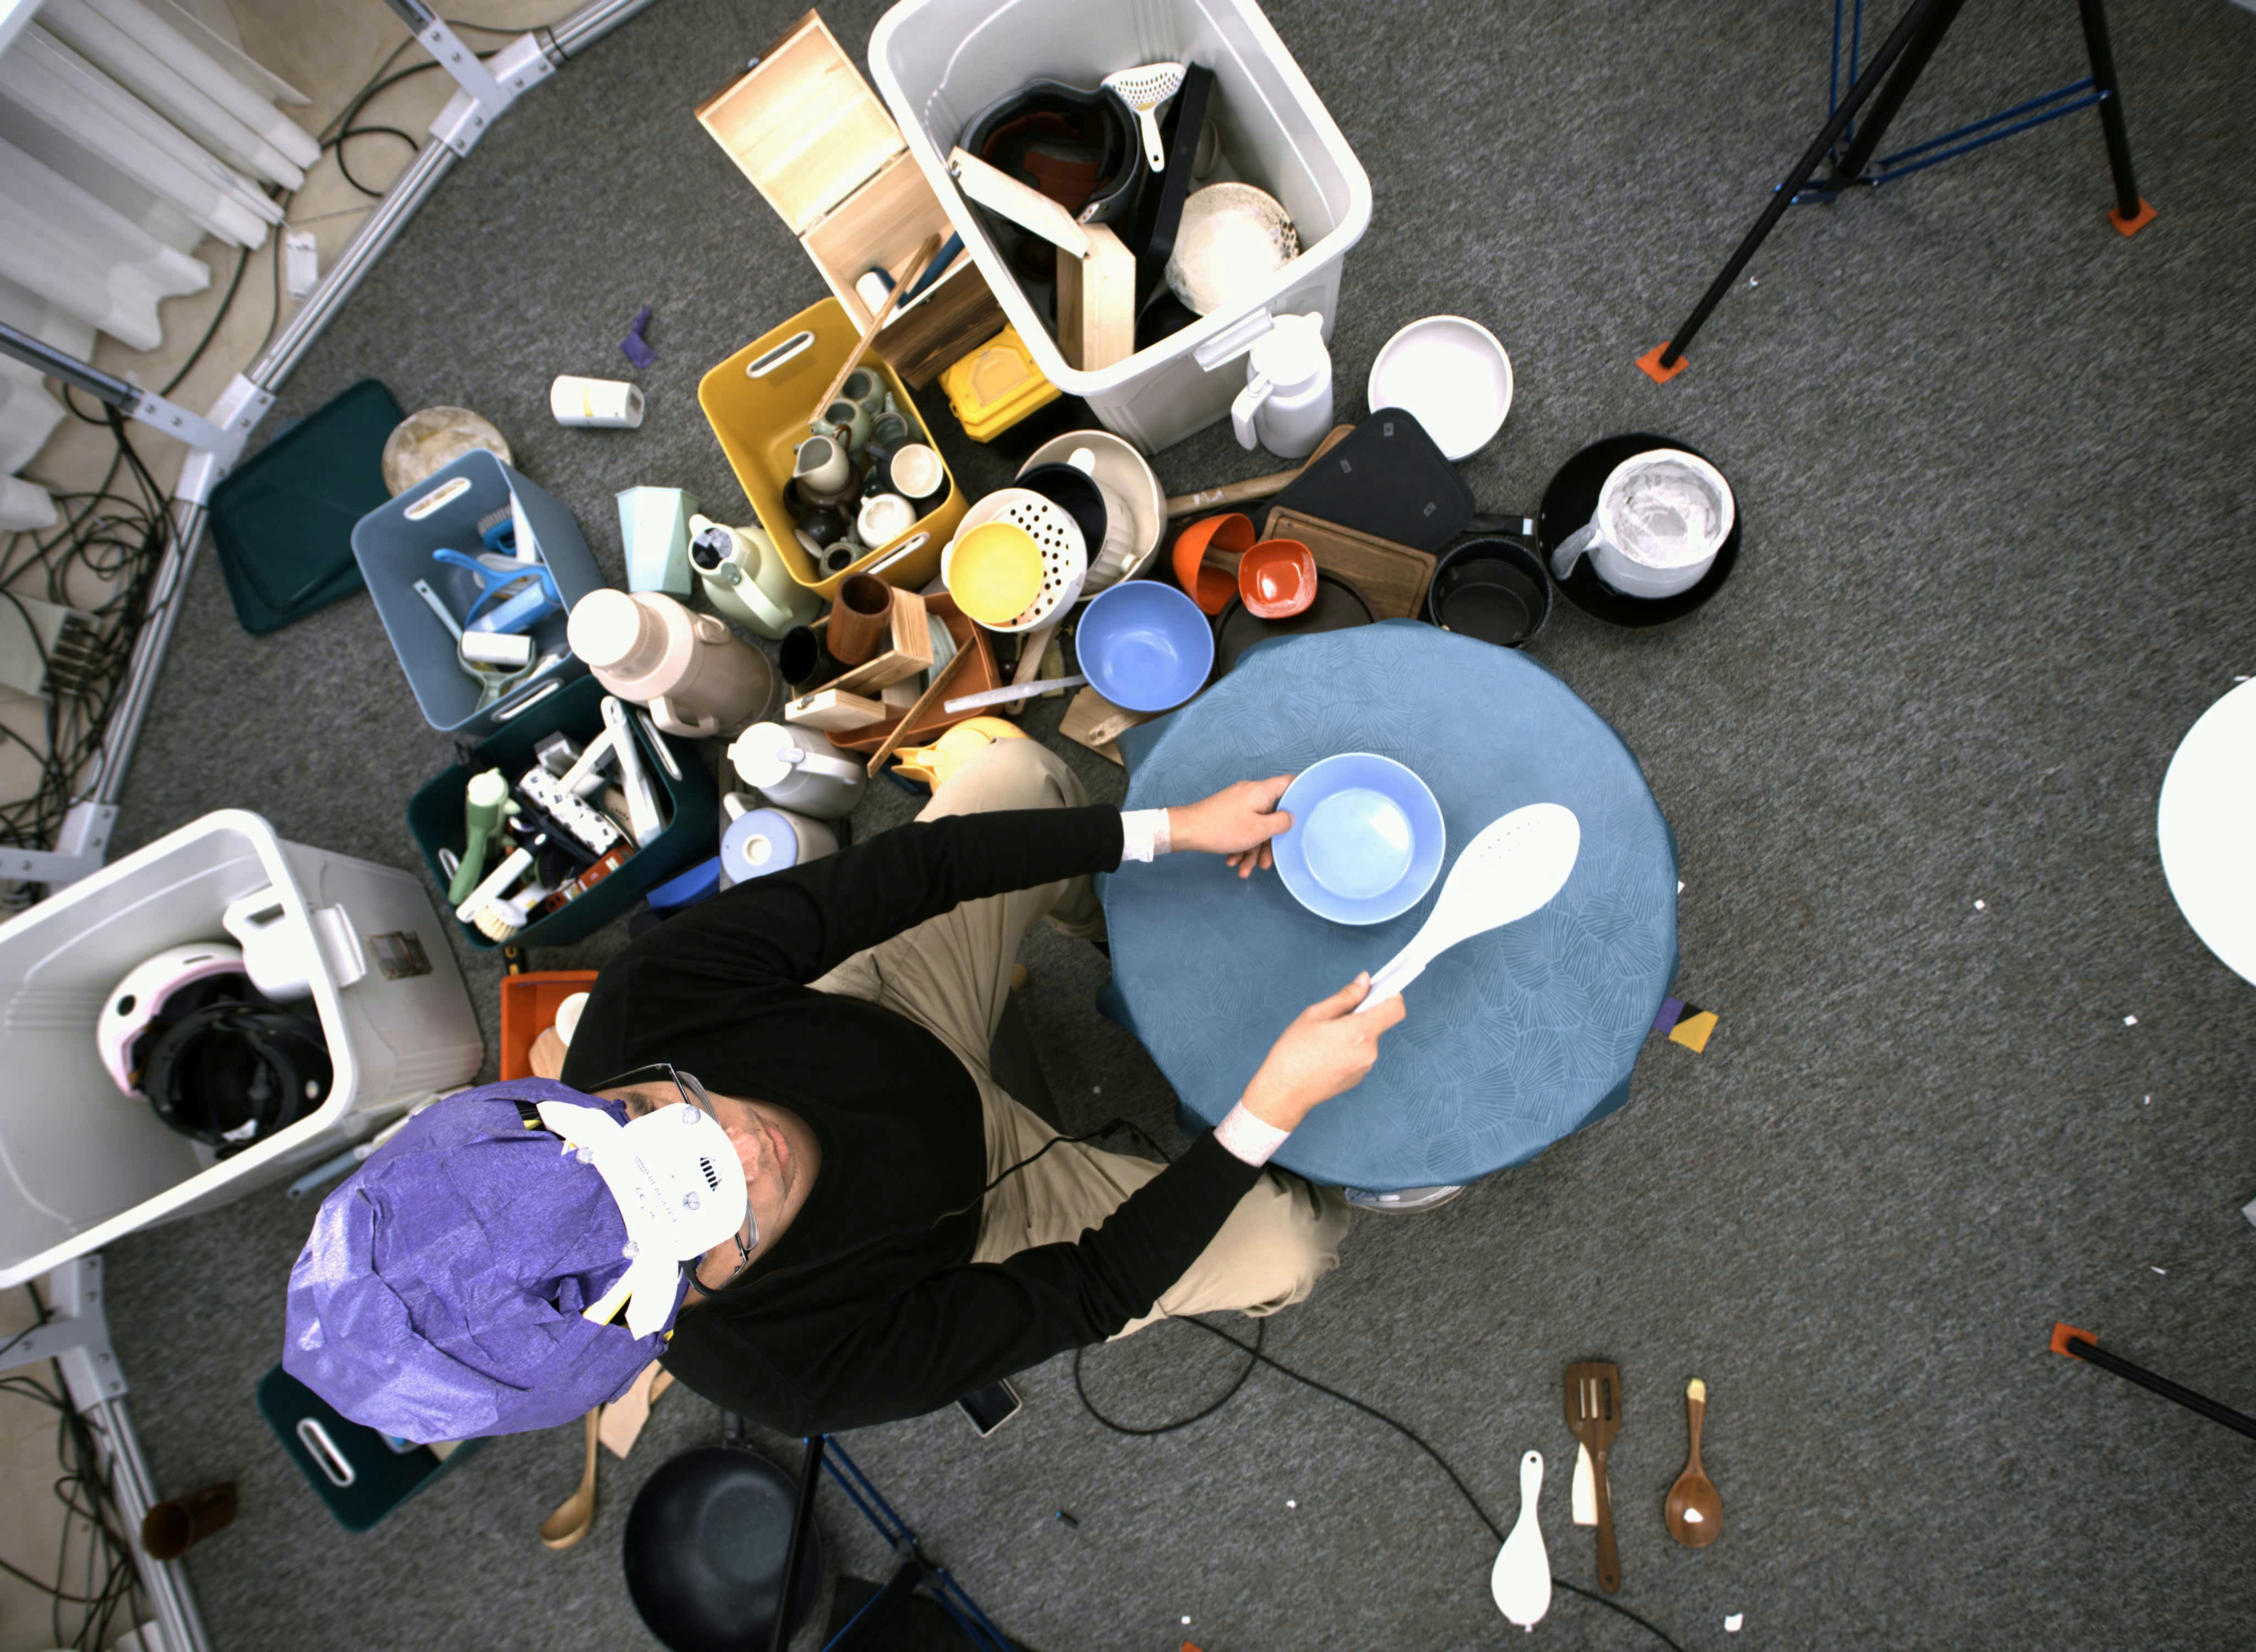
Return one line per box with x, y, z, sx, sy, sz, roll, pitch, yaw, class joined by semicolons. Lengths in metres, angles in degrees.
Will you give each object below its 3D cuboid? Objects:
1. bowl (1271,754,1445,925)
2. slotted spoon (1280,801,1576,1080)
0.238;0.015;1.434;0.177;0.070;0.175;-1;87;11;bowl
0.271;0.106;1.256;0.351;0.134;0.046;-40;113;6;slotted spoon
